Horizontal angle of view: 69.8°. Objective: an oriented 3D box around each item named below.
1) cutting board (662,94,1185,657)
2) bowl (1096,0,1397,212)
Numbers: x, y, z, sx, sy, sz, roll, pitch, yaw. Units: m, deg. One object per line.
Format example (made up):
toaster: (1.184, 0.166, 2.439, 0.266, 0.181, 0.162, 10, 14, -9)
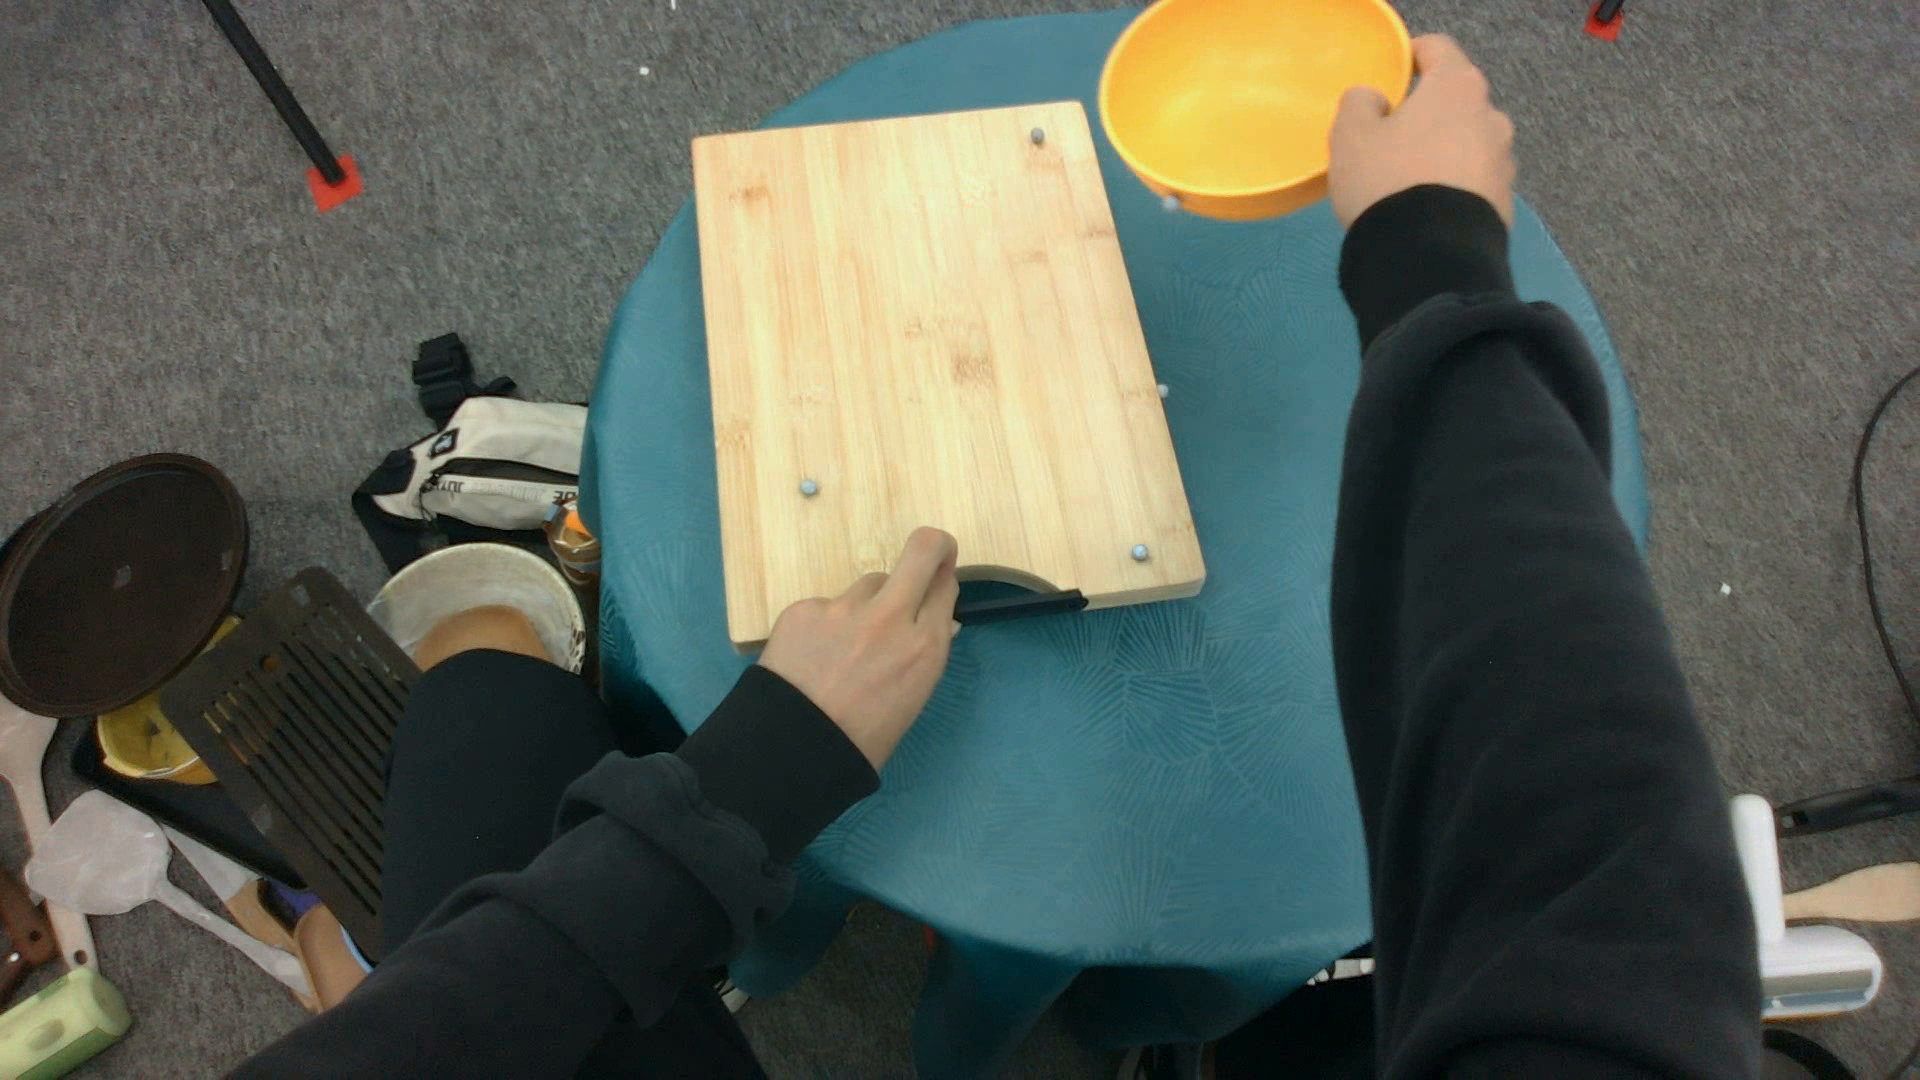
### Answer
cutting board: (-0.033, -0.110, 0.763, 0.251, 0.023, 0.350, -8, 61, -7)
bowl: (0.145, -0.215, 0.684, 0.145, 0.060, 0.146, -8, 63, 18)
